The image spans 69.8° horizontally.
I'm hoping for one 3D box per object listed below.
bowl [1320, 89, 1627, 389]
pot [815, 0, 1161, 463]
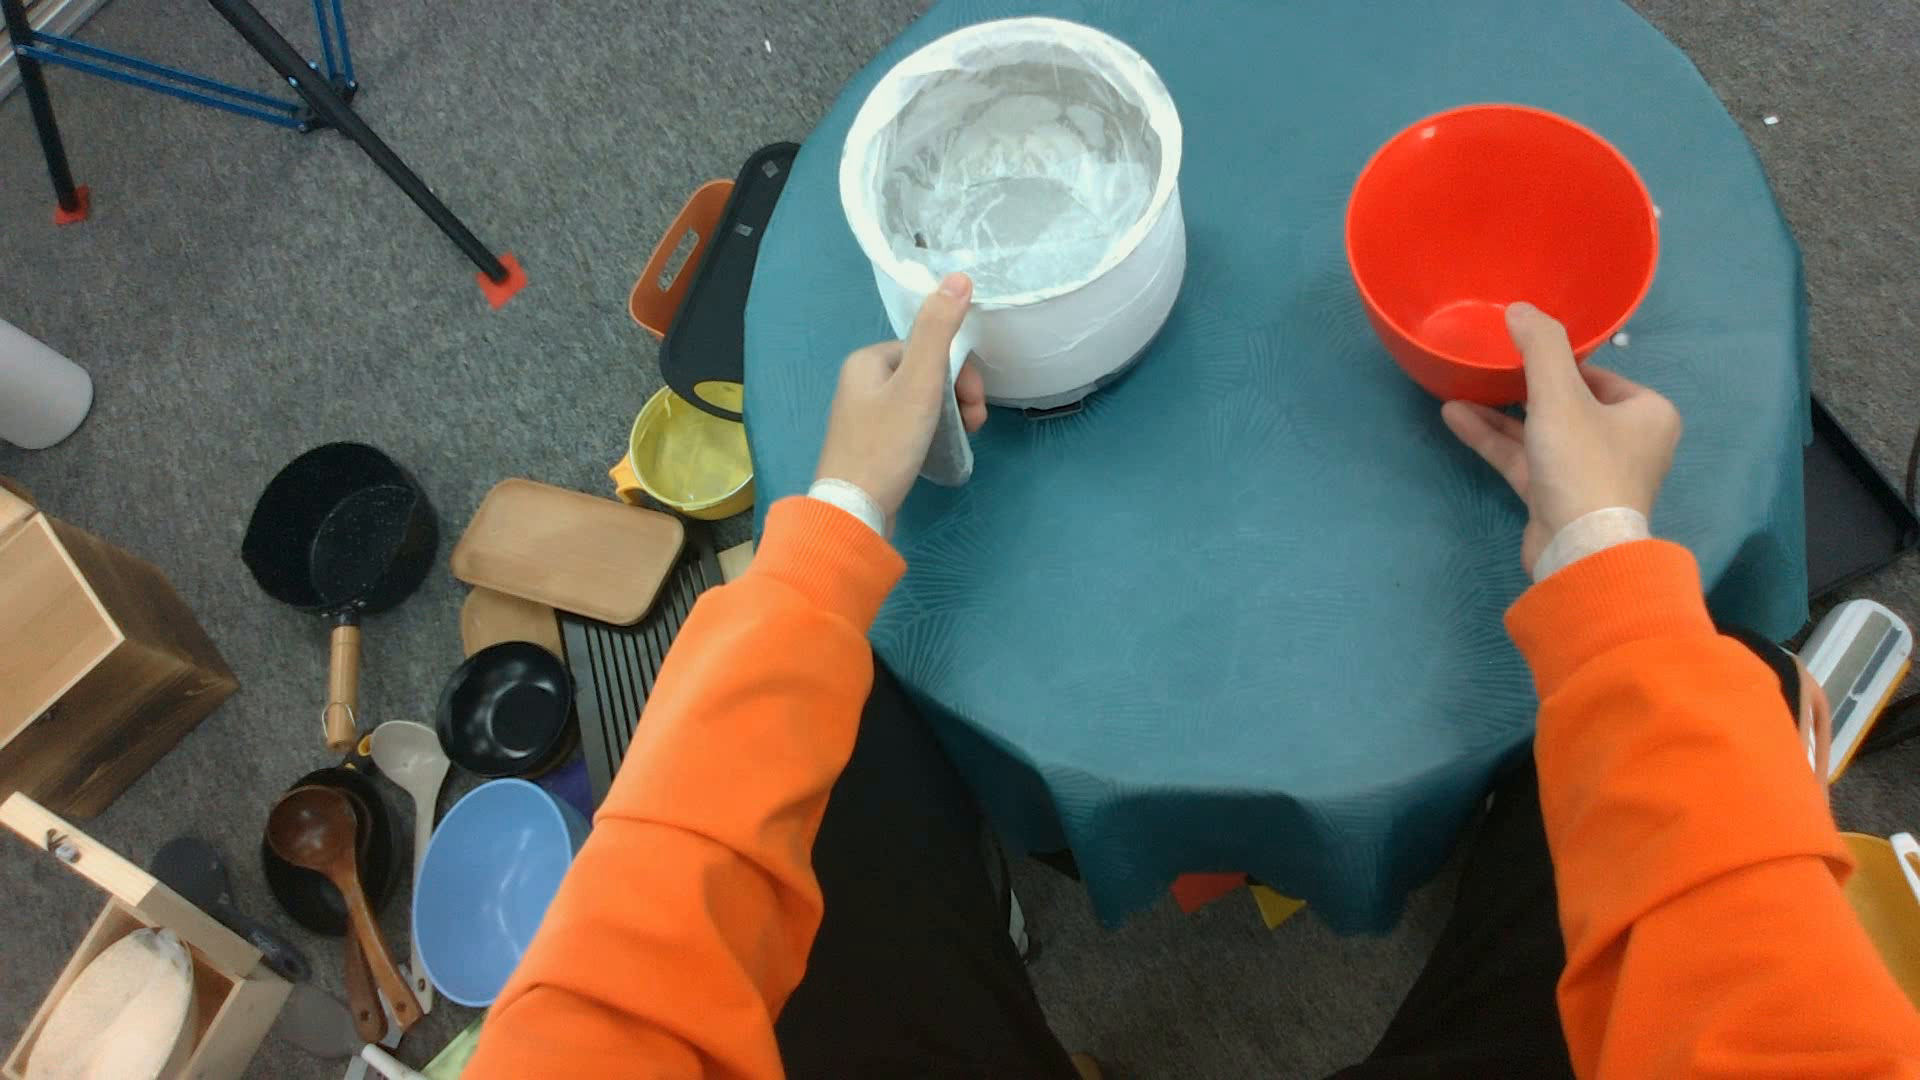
[{"bbox_3d":[0.263,-0.145,0.726,0.148,0.104,0.148,-4,63,8],"label":"bowl"},{"bbox_3d":[0.012,-0.162,0.756,0.178,0.136,0.234,17,73,16],"label":"pot"}]
